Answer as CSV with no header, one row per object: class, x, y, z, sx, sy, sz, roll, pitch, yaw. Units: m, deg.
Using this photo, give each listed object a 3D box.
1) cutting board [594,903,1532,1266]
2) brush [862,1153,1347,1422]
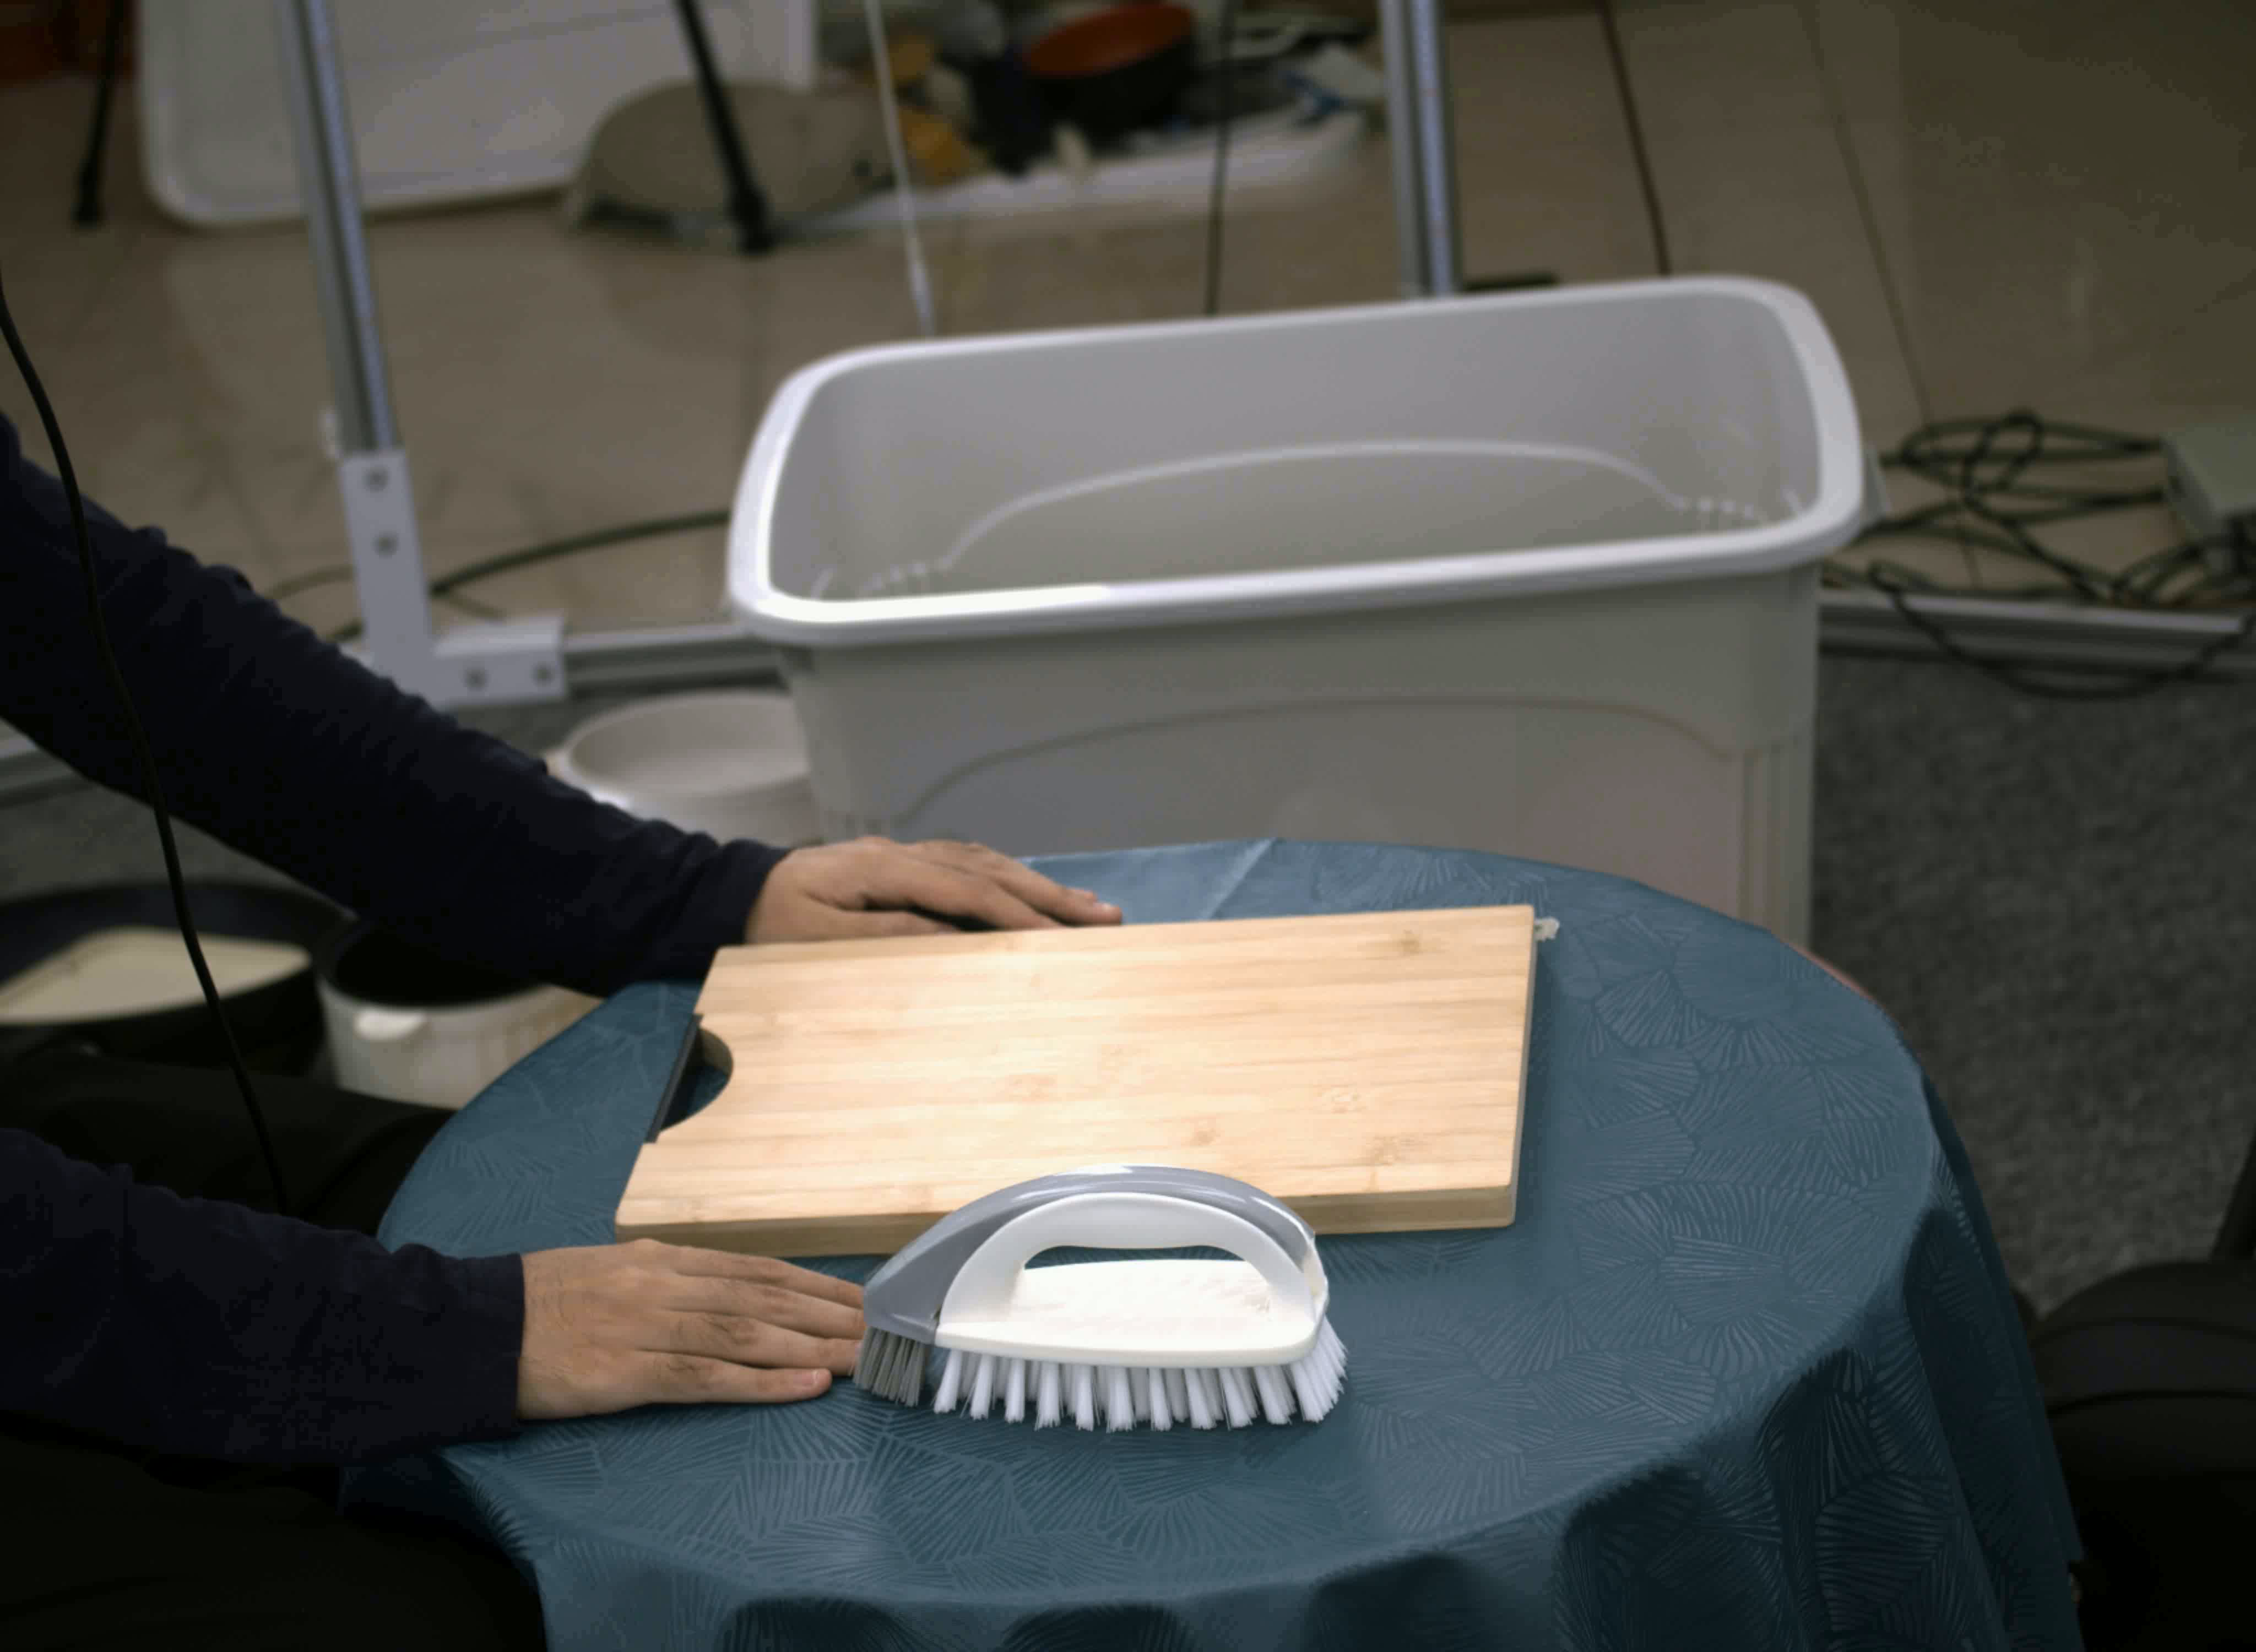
cutting board,-0.018,0.100,2.219,0.348,0.024,0.247,-3,24,7
brush,-0.015,0.161,1.992,0.175,0.095,0.060,-3,24,13
